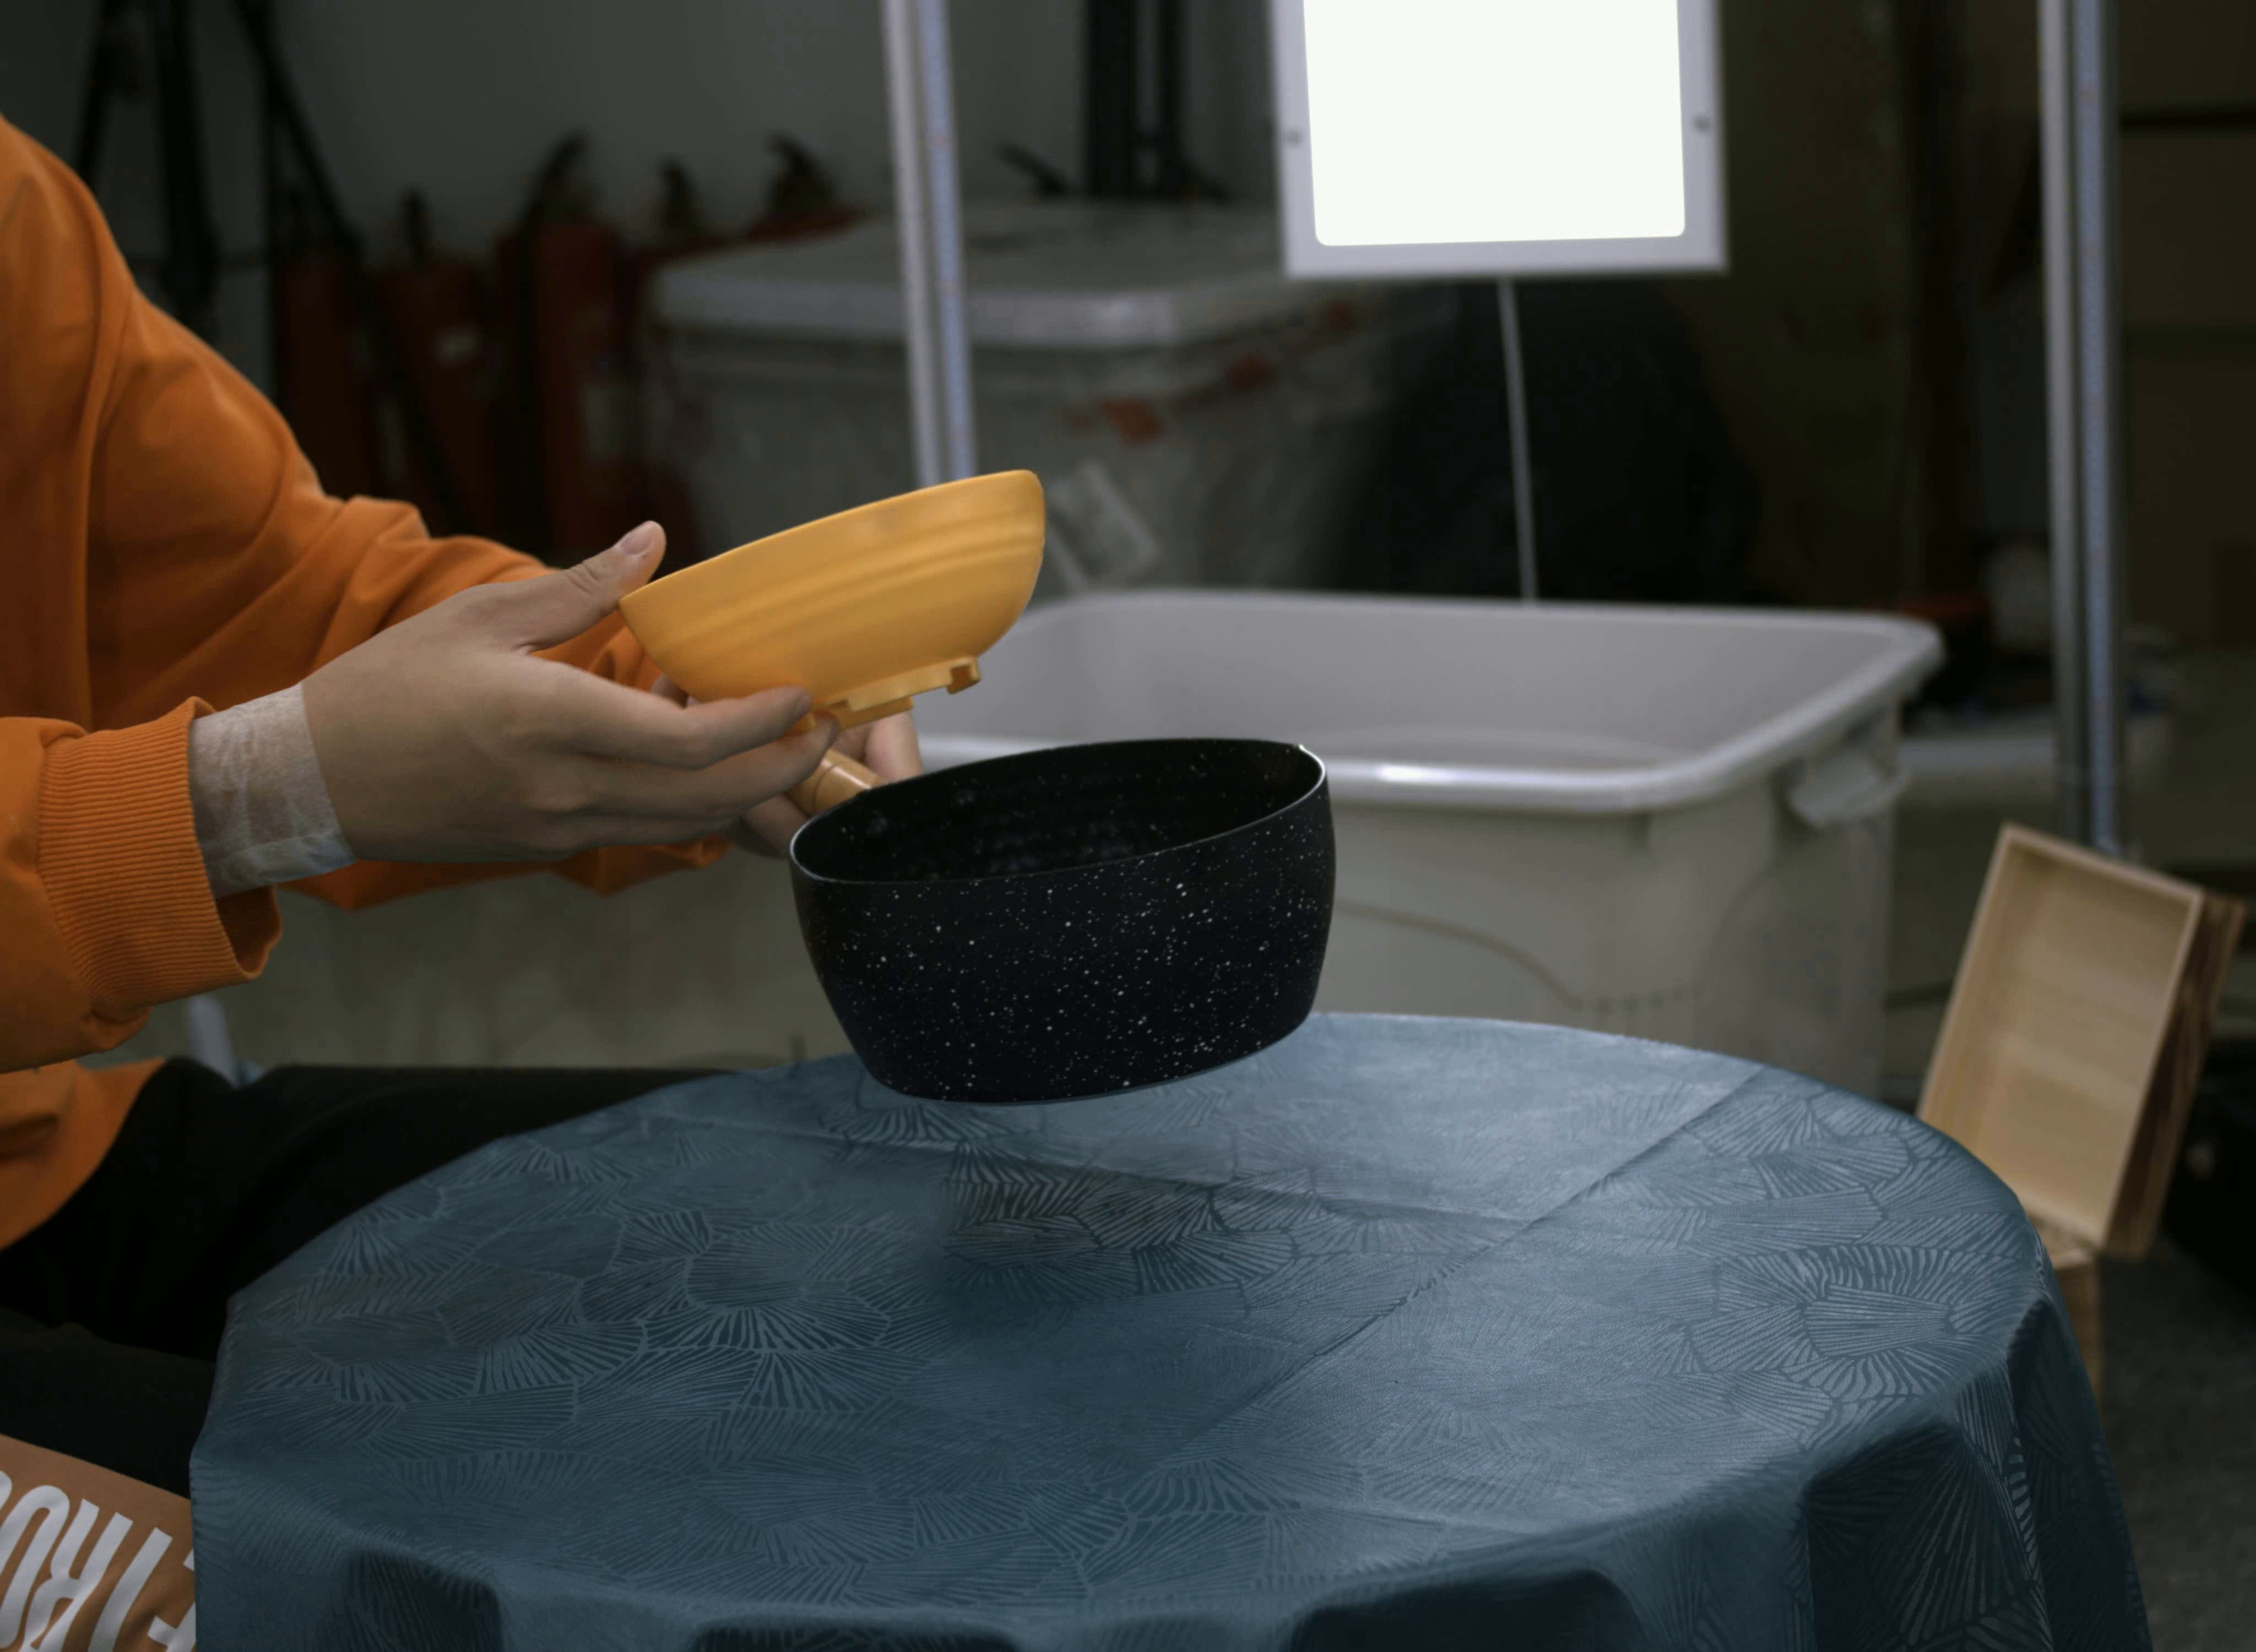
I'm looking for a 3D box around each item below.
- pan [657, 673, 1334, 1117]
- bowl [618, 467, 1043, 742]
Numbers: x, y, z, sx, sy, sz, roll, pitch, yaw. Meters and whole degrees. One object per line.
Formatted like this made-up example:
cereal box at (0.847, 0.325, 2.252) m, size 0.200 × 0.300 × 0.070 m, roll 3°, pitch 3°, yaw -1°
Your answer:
pan at (-0.067, 0.014, 1.921) m, size 0.202 × 0.108 × 0.350 m, roll -18°, pitch 17°, yaw -32°
bowl at (-0.088, -0.065, 1.773) m, size 0.144 × 0.060 × 0.145 m, roll -18°, pitch -5°, yaw -3°
